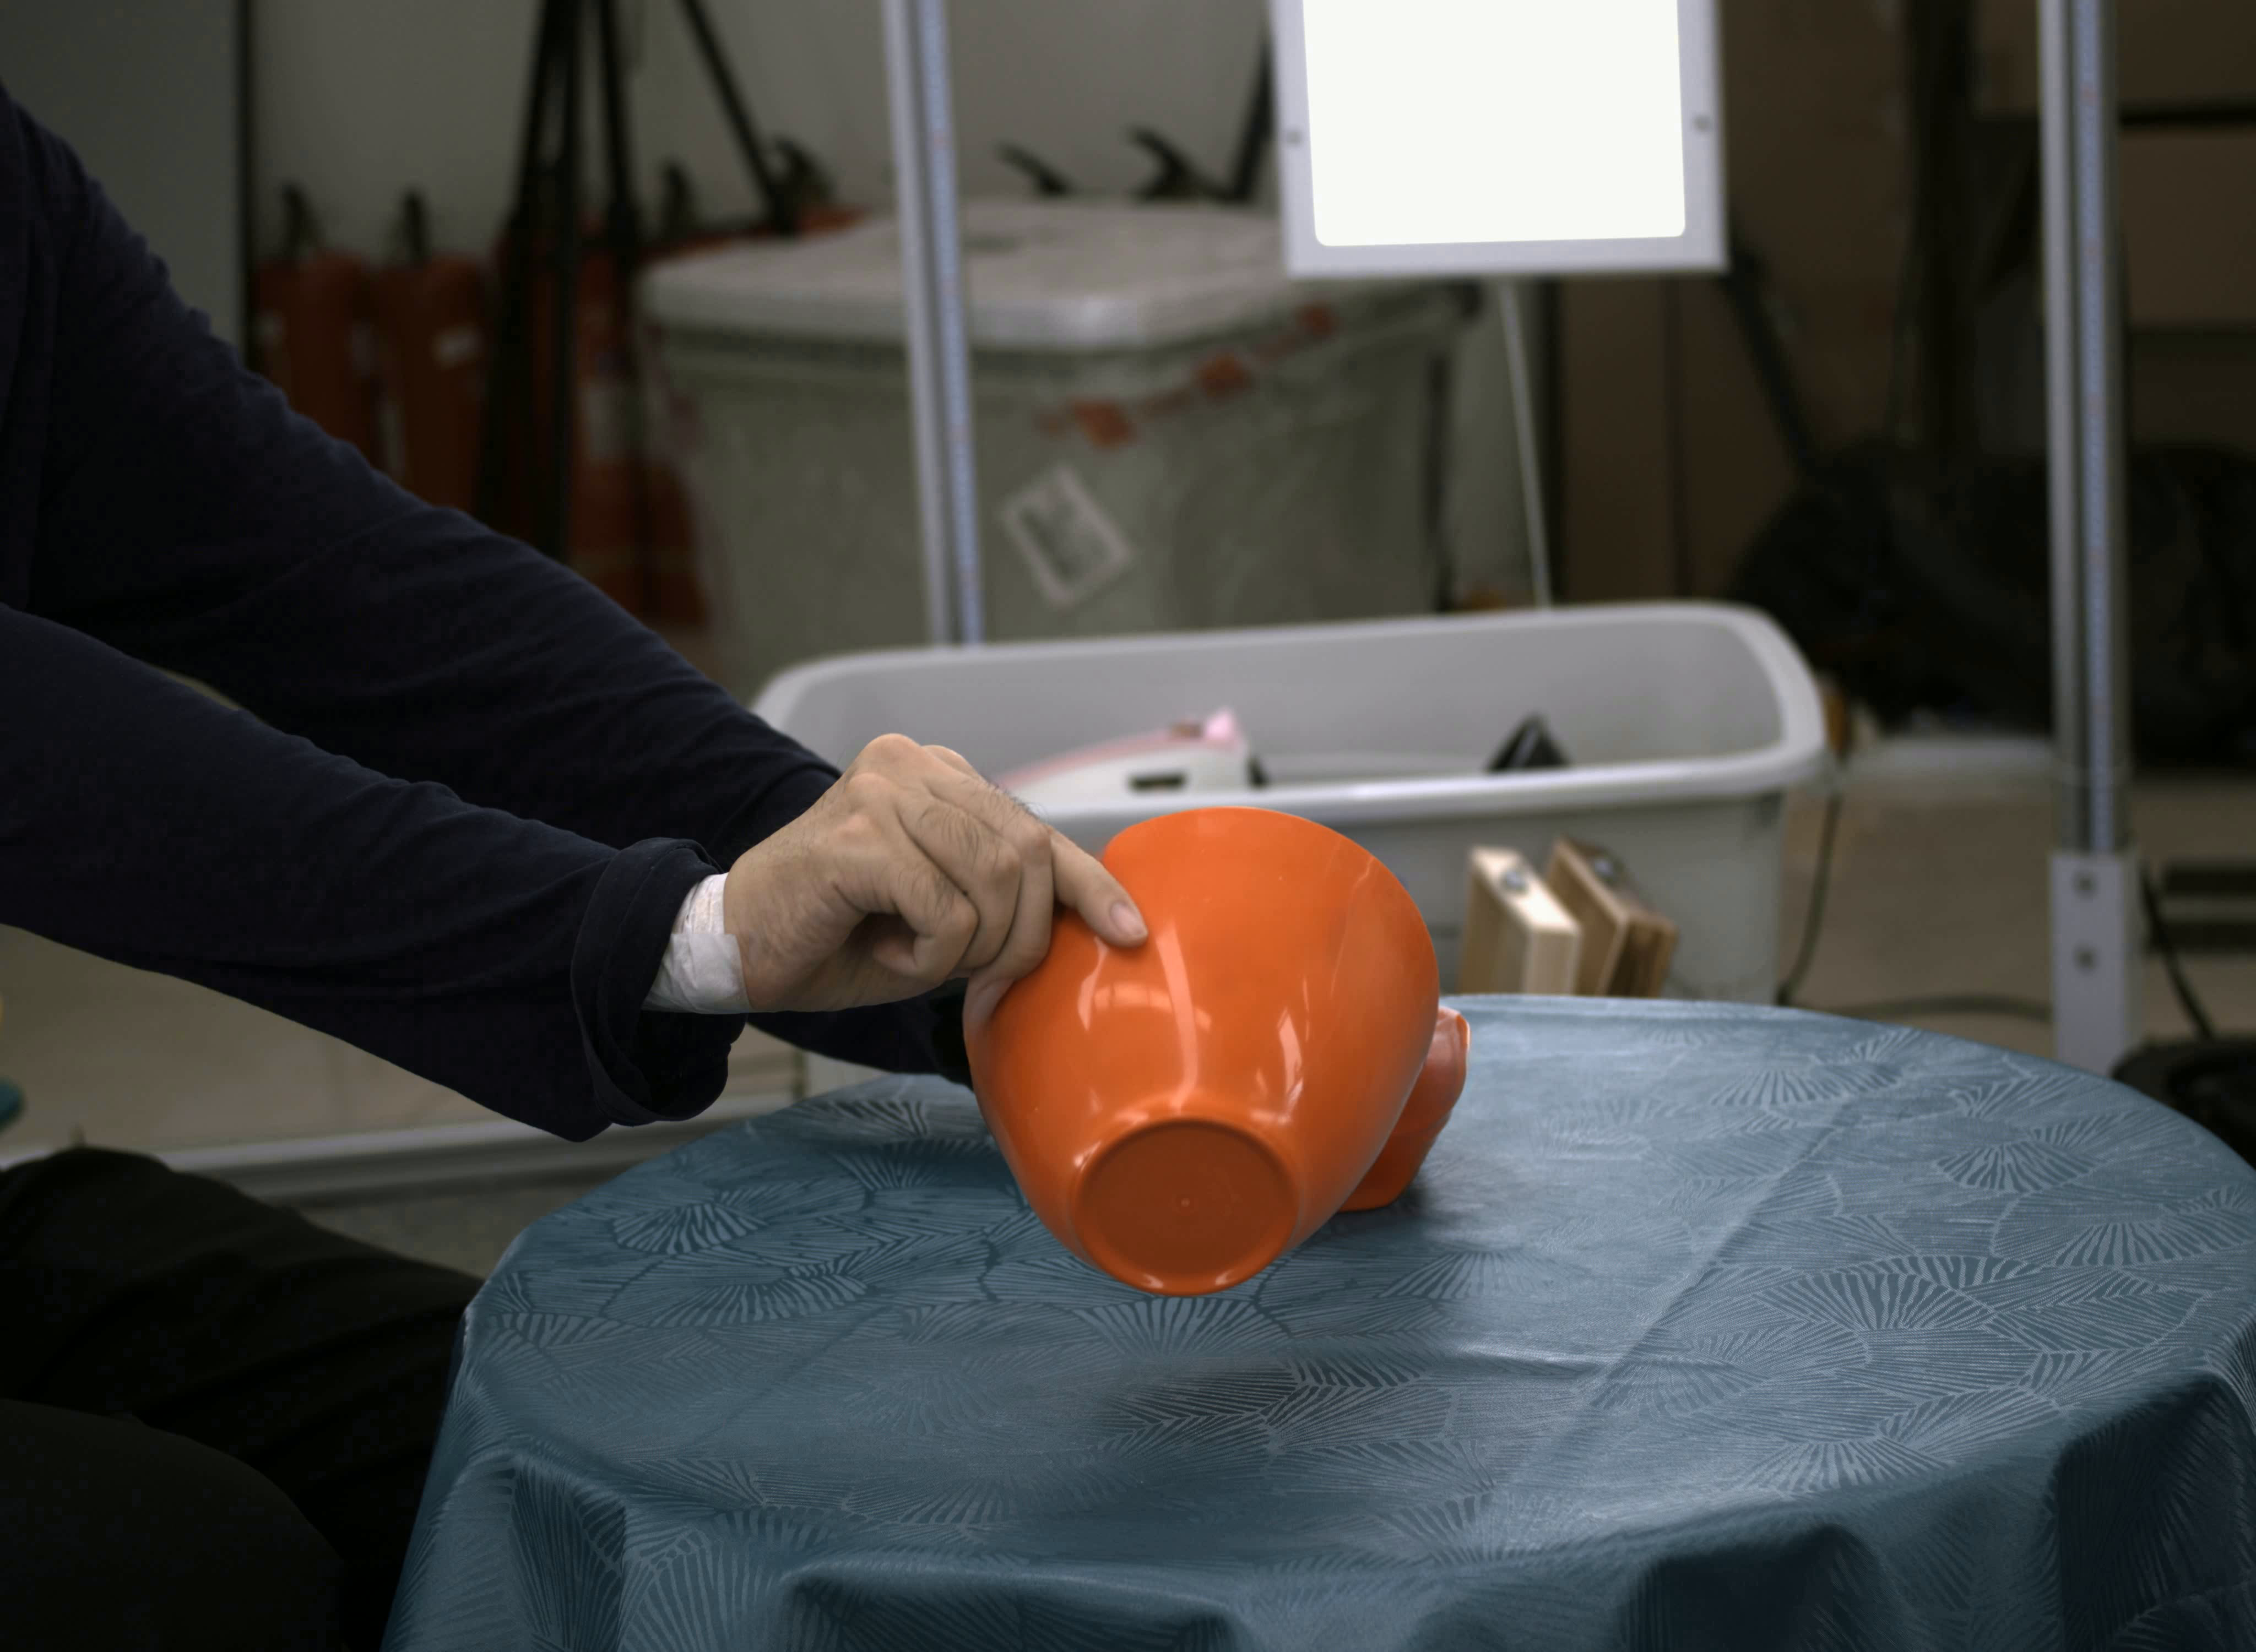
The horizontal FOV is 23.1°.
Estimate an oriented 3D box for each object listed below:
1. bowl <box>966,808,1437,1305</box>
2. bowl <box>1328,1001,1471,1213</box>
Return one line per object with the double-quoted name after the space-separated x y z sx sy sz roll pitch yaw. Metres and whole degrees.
0.025 0.082 1.657 0.147 0.148 0.104 -4 33 0 "bowl"
0.064 0.098 1.888 0.118 0.051 0.119 -5 15 0 "bowl"
